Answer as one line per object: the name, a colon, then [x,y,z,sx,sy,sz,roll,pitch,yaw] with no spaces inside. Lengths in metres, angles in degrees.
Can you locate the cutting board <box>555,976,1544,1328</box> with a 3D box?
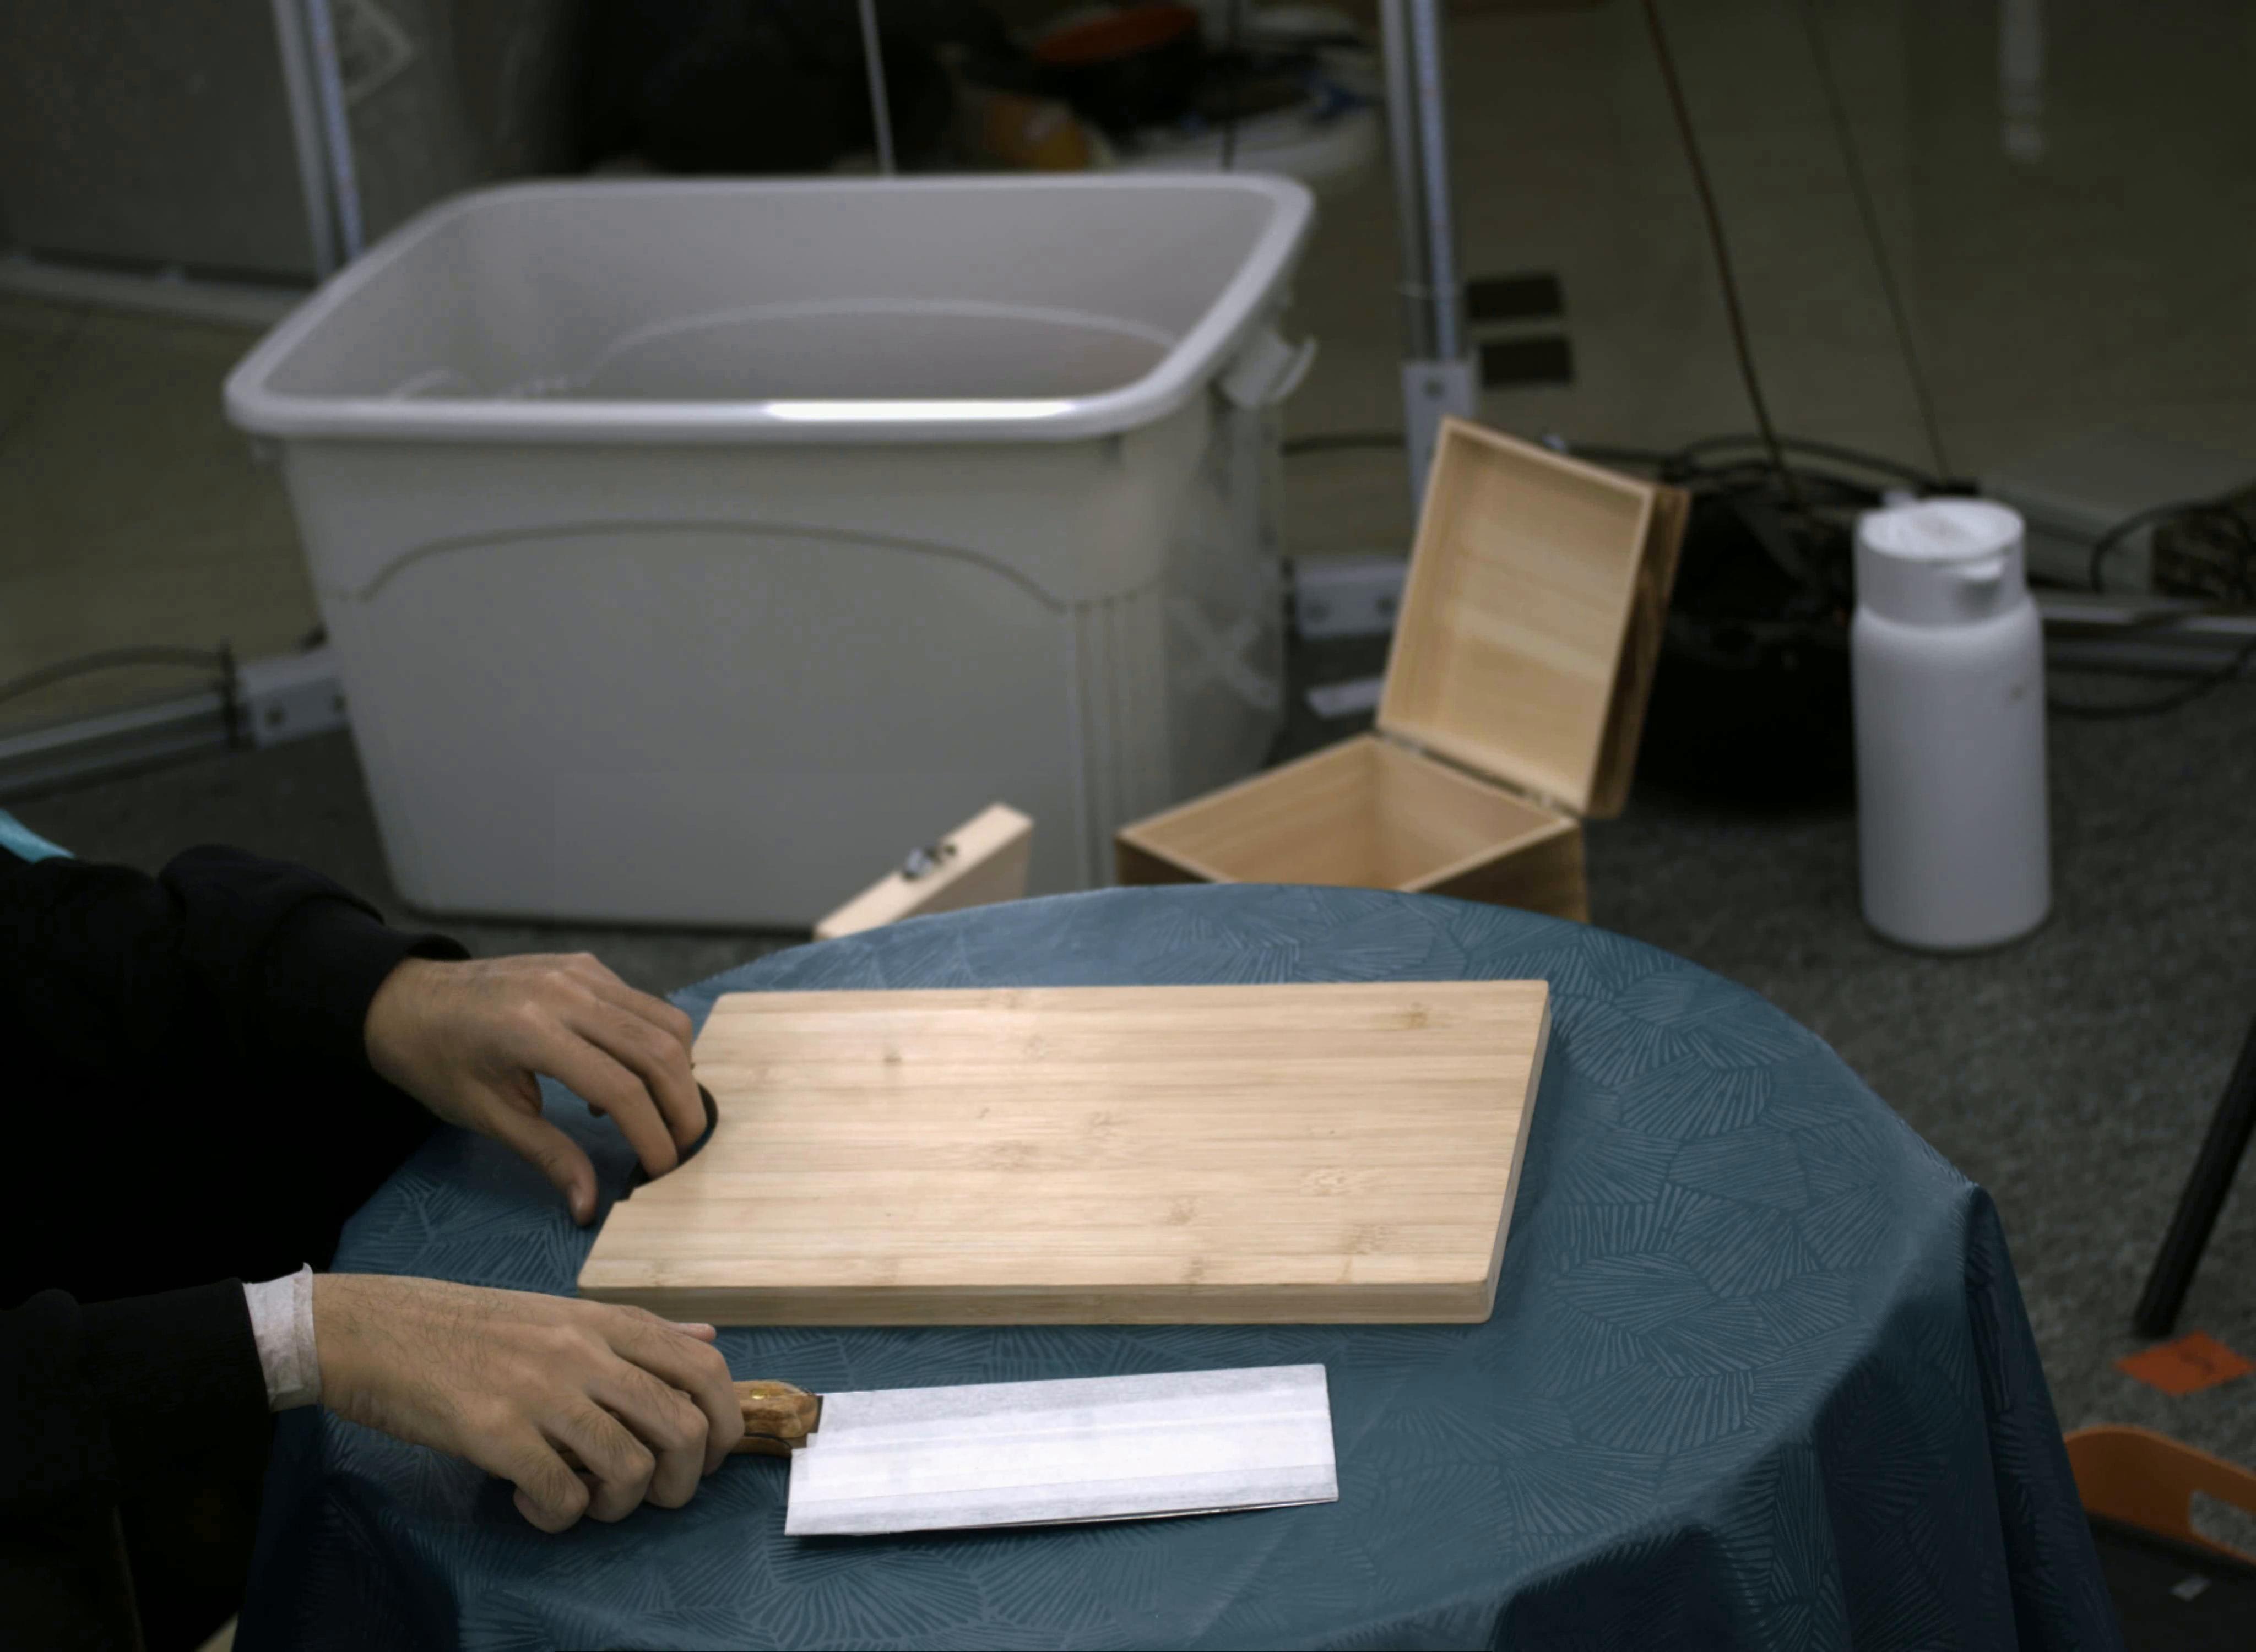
cutting board: [-0.024,0.123,2.167,0.348,0.024,0.247,-2,25,10]

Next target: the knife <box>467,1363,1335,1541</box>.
knife: [-0.081,0.219,1.977,0.305,0.021,0.091,-4,27,1]
